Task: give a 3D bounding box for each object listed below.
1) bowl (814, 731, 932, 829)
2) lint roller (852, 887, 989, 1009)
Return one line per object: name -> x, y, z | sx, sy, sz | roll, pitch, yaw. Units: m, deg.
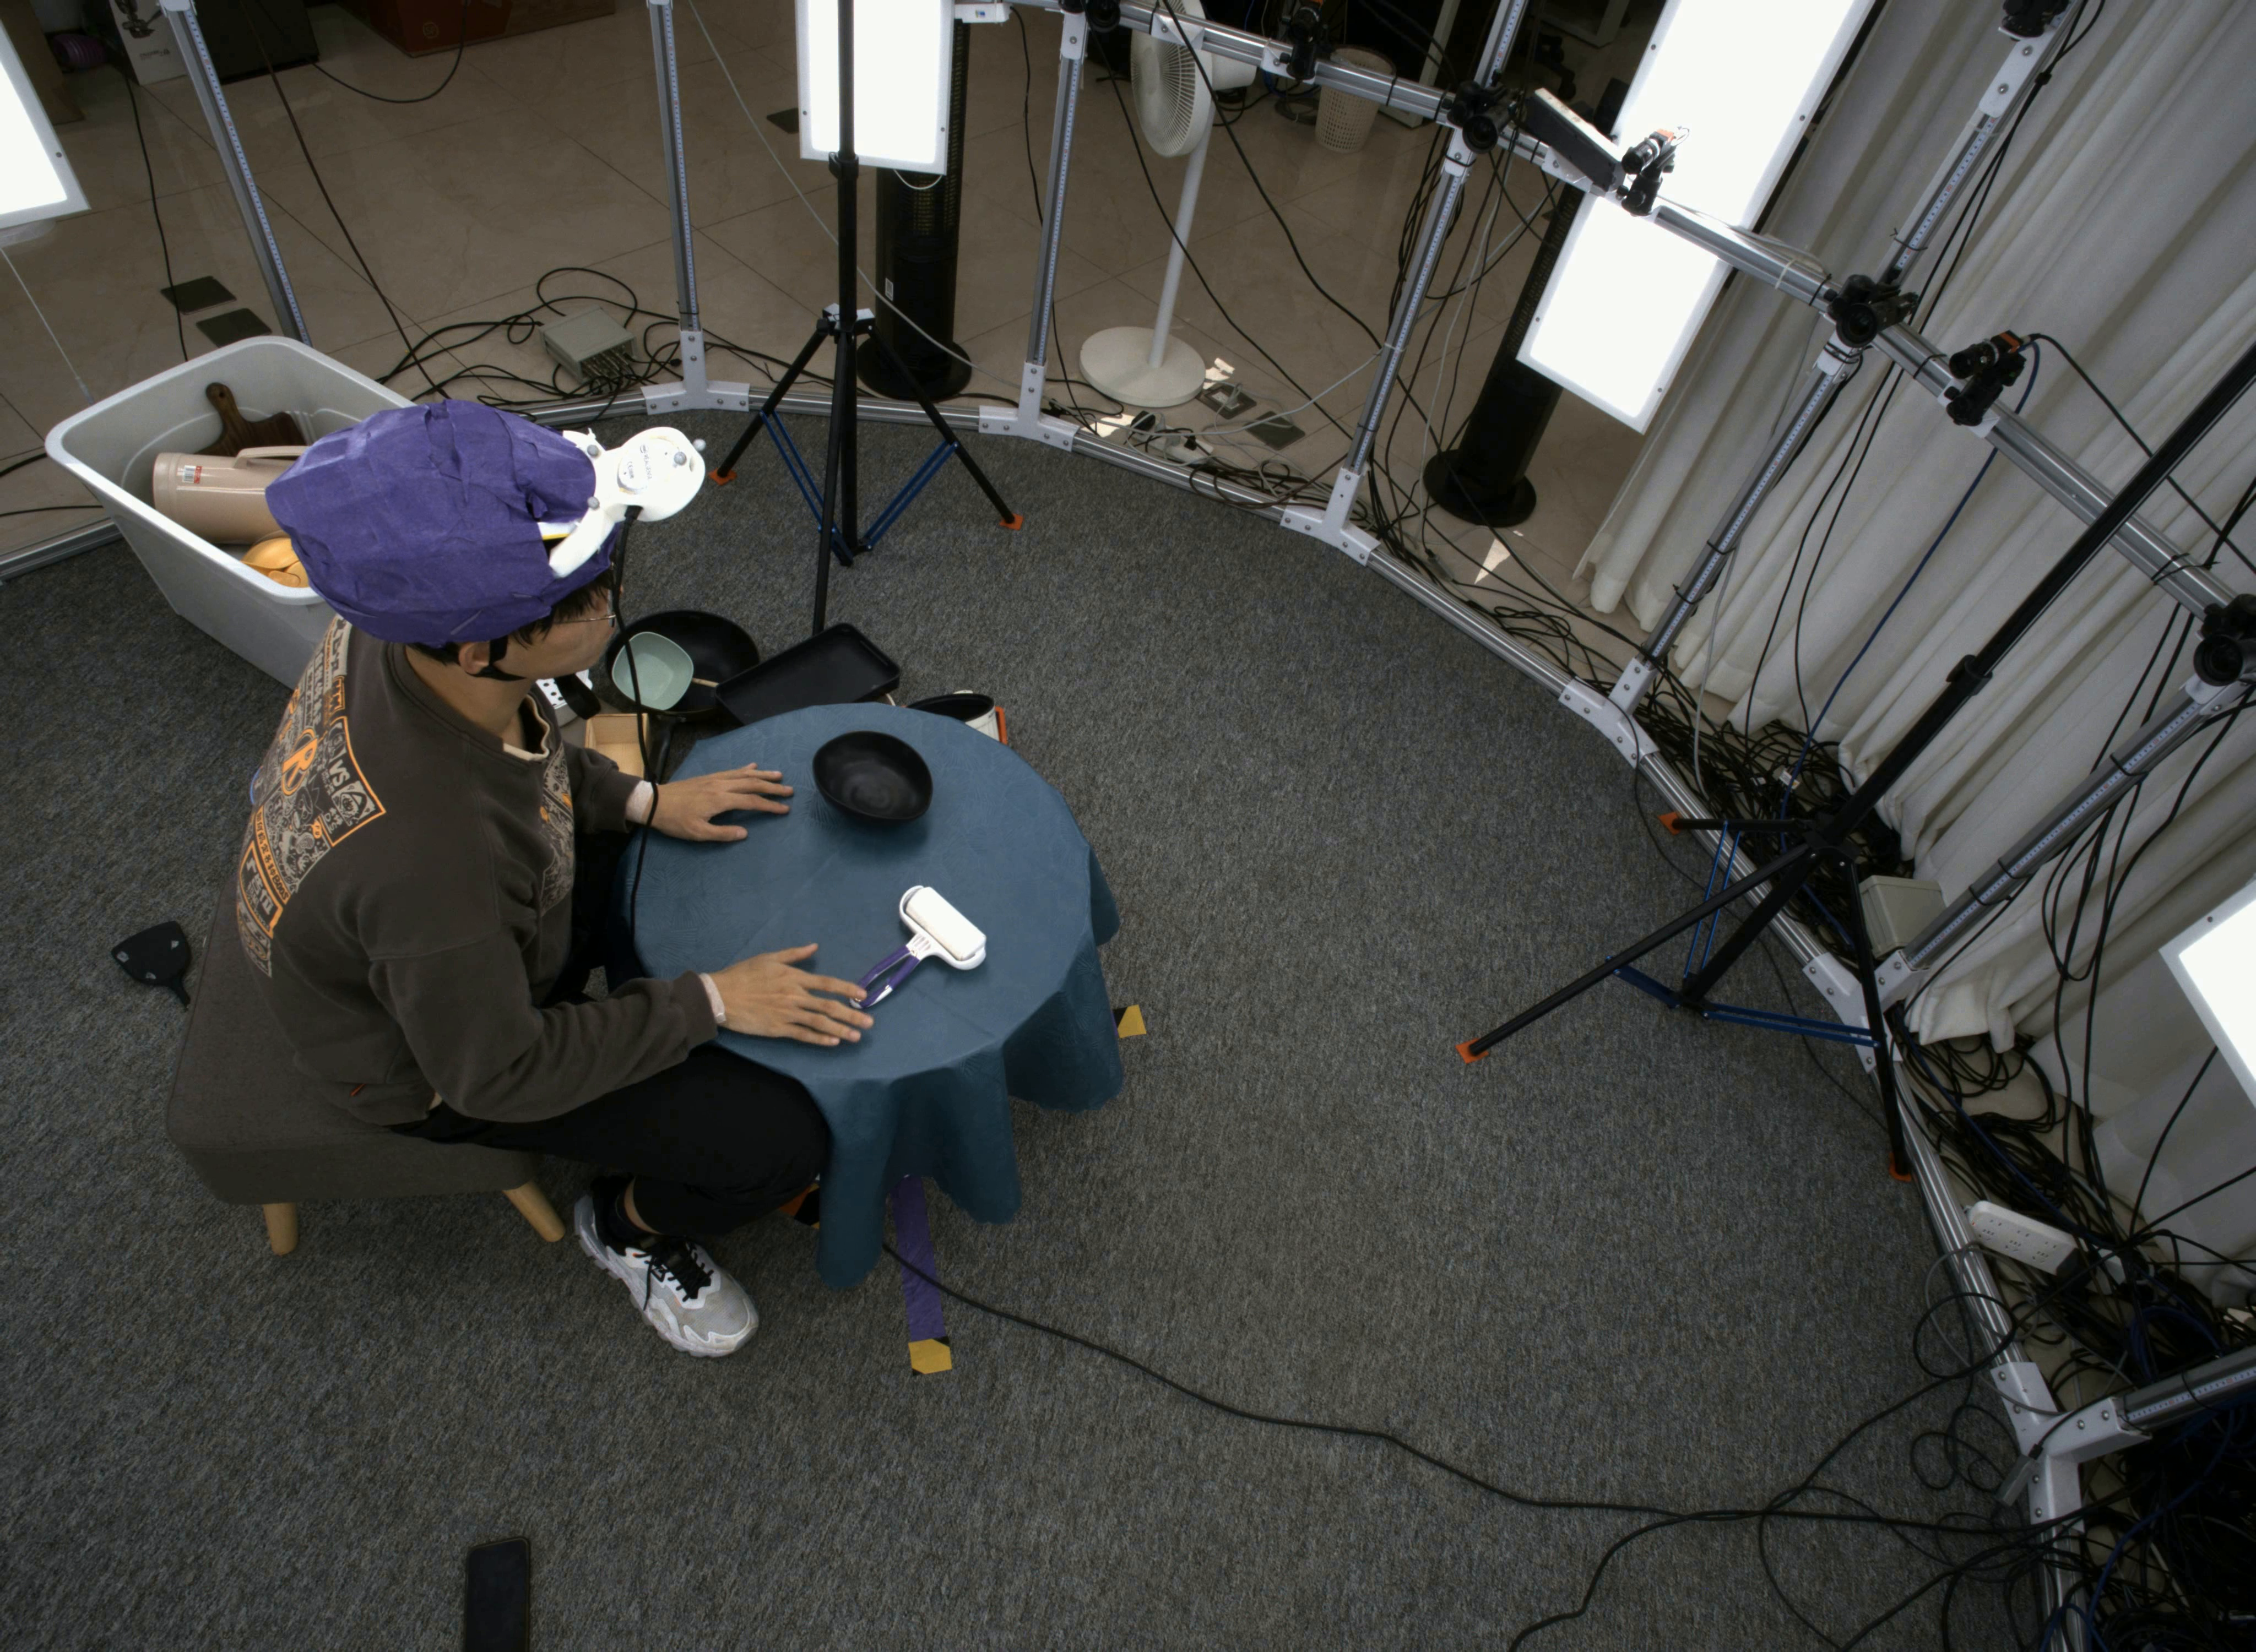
bowl -> -0.343, -0.052, 1.756 | 0.168, 0.068, 0.136 | 28, 54, 6
lint roller -> -0.276, 0.158, 1.628 | 0.130, 0.051, 0.181 | 42, 53, 17
